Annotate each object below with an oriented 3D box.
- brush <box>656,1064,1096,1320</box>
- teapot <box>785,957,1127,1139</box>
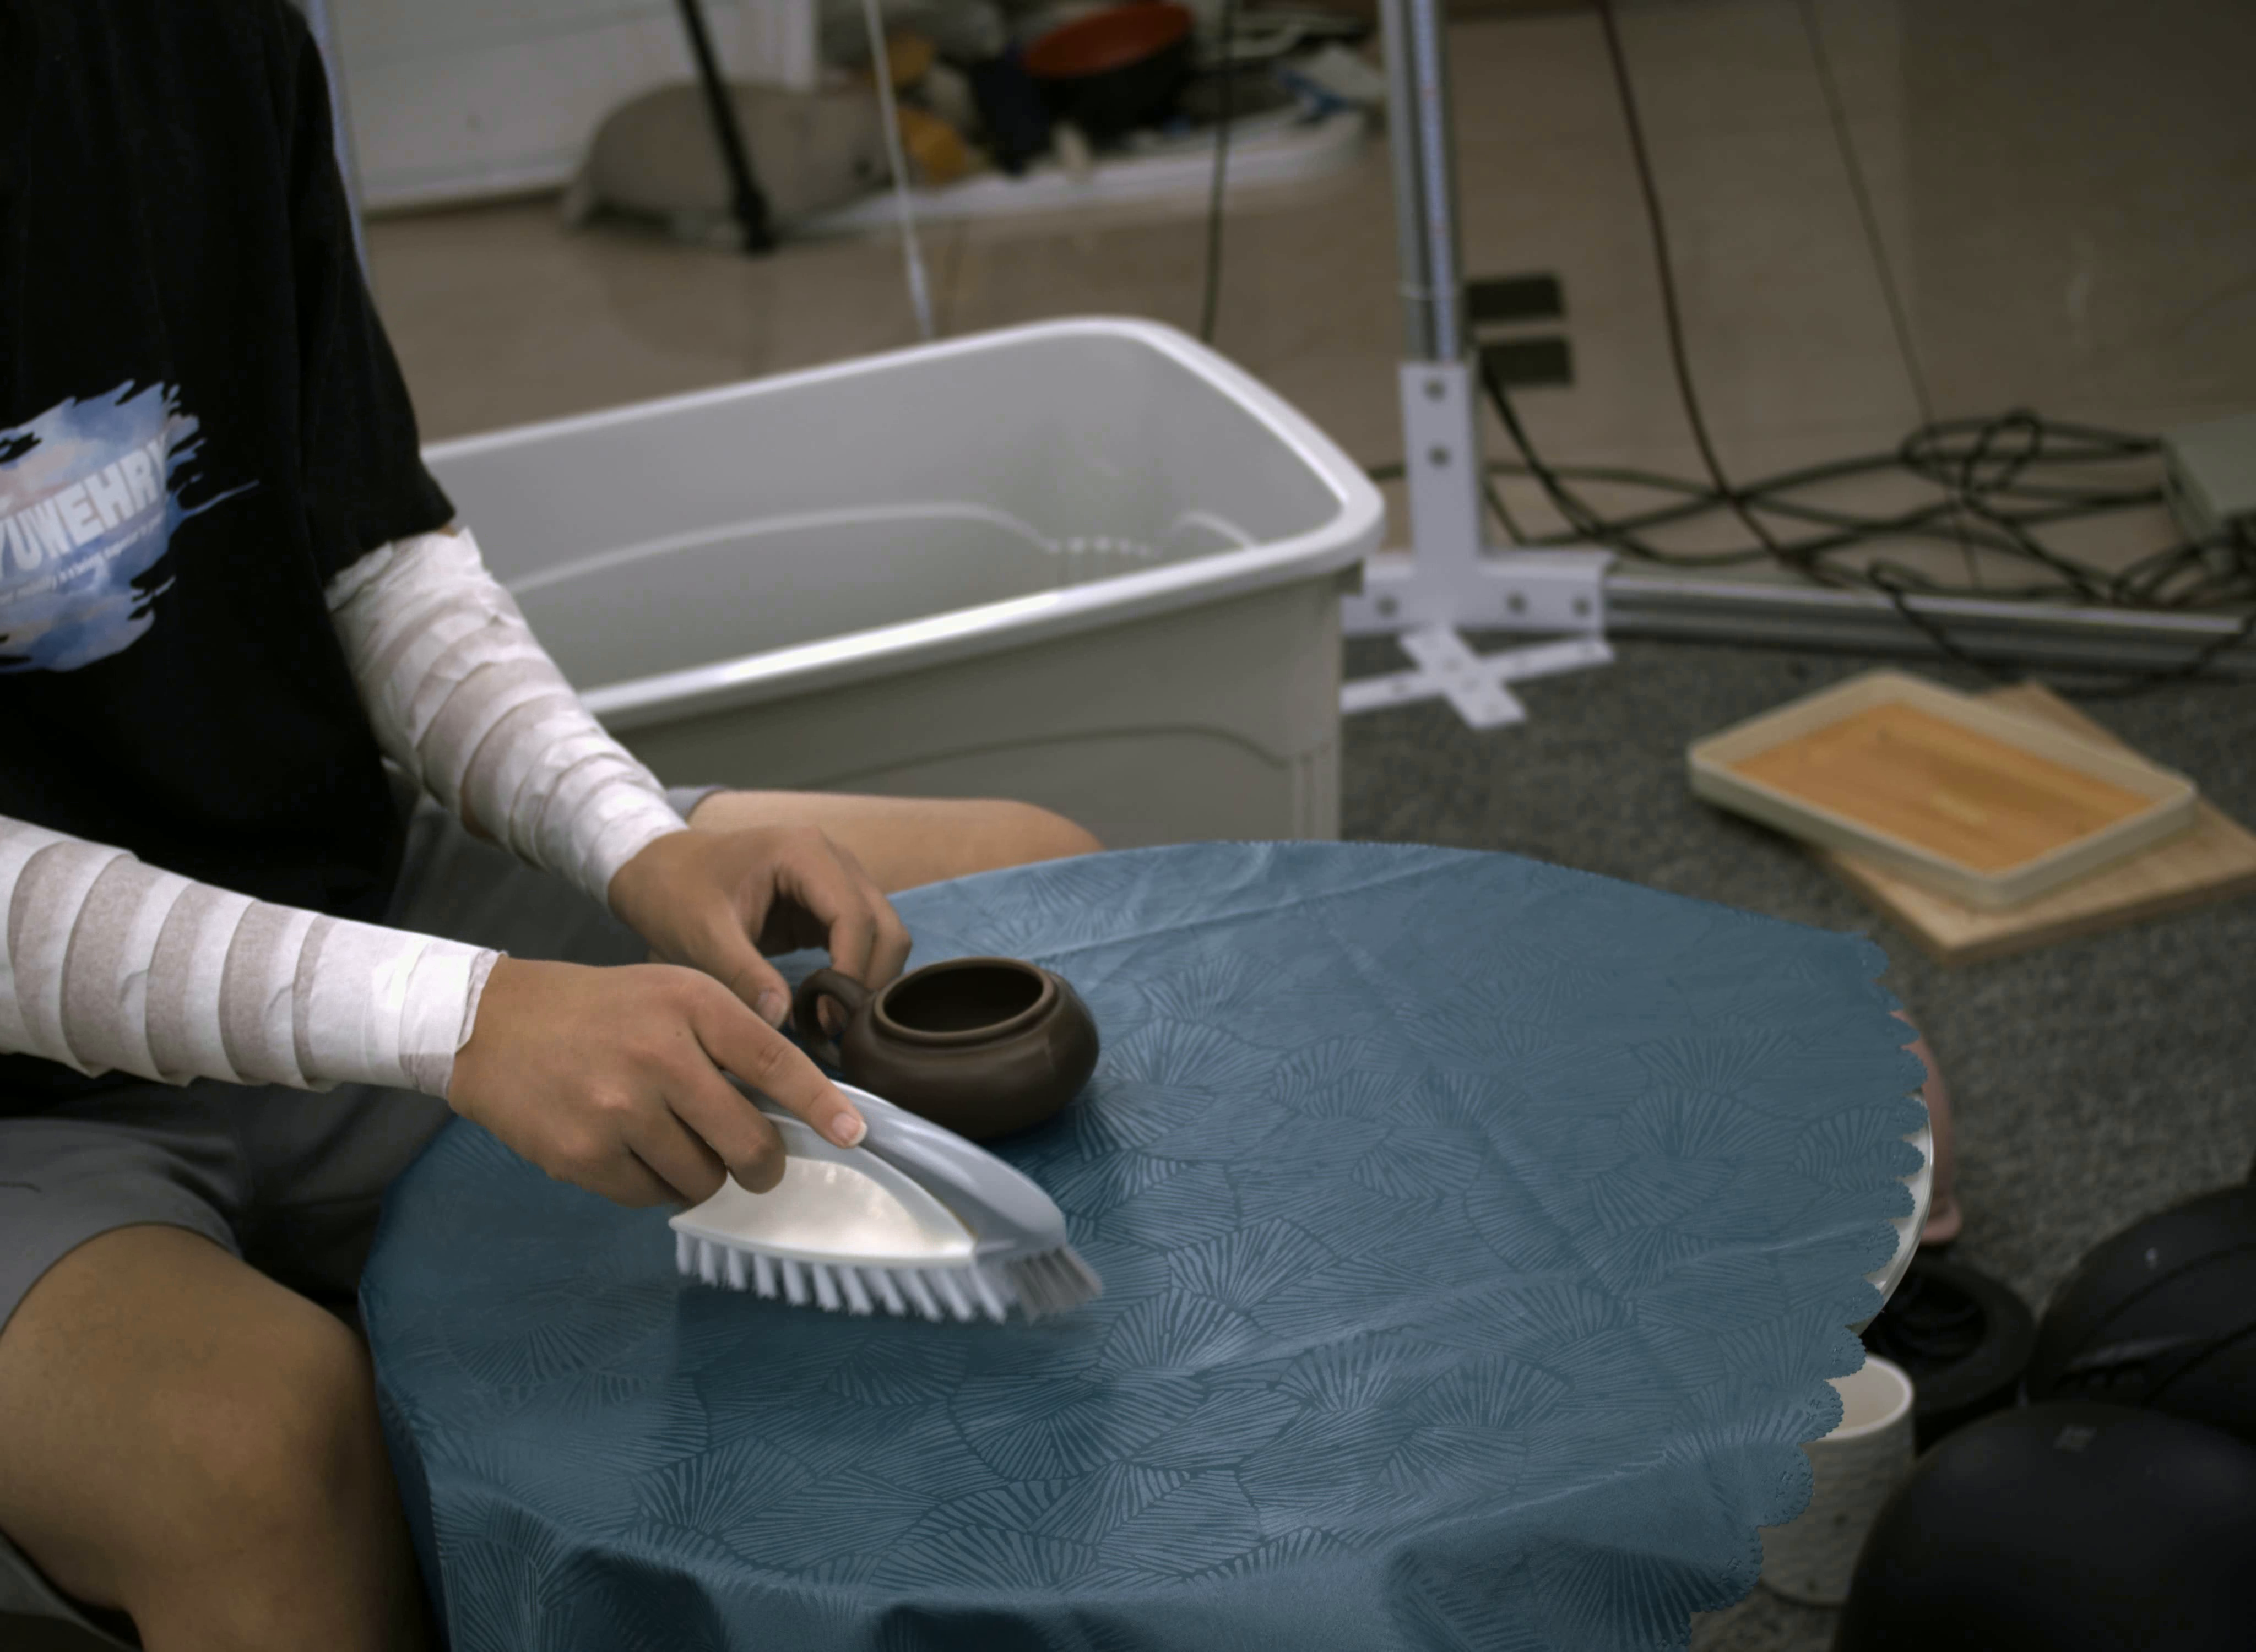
[{"bbox_3d":[-0.096,0.130,2.066,0.174,0.096,0.060,12,52,30],"label":"brush"},{"bbox_3d":[-0.067,0.085,2.217,0.153,0.054,0.101,5,26,25],"label":"teapot"}]
